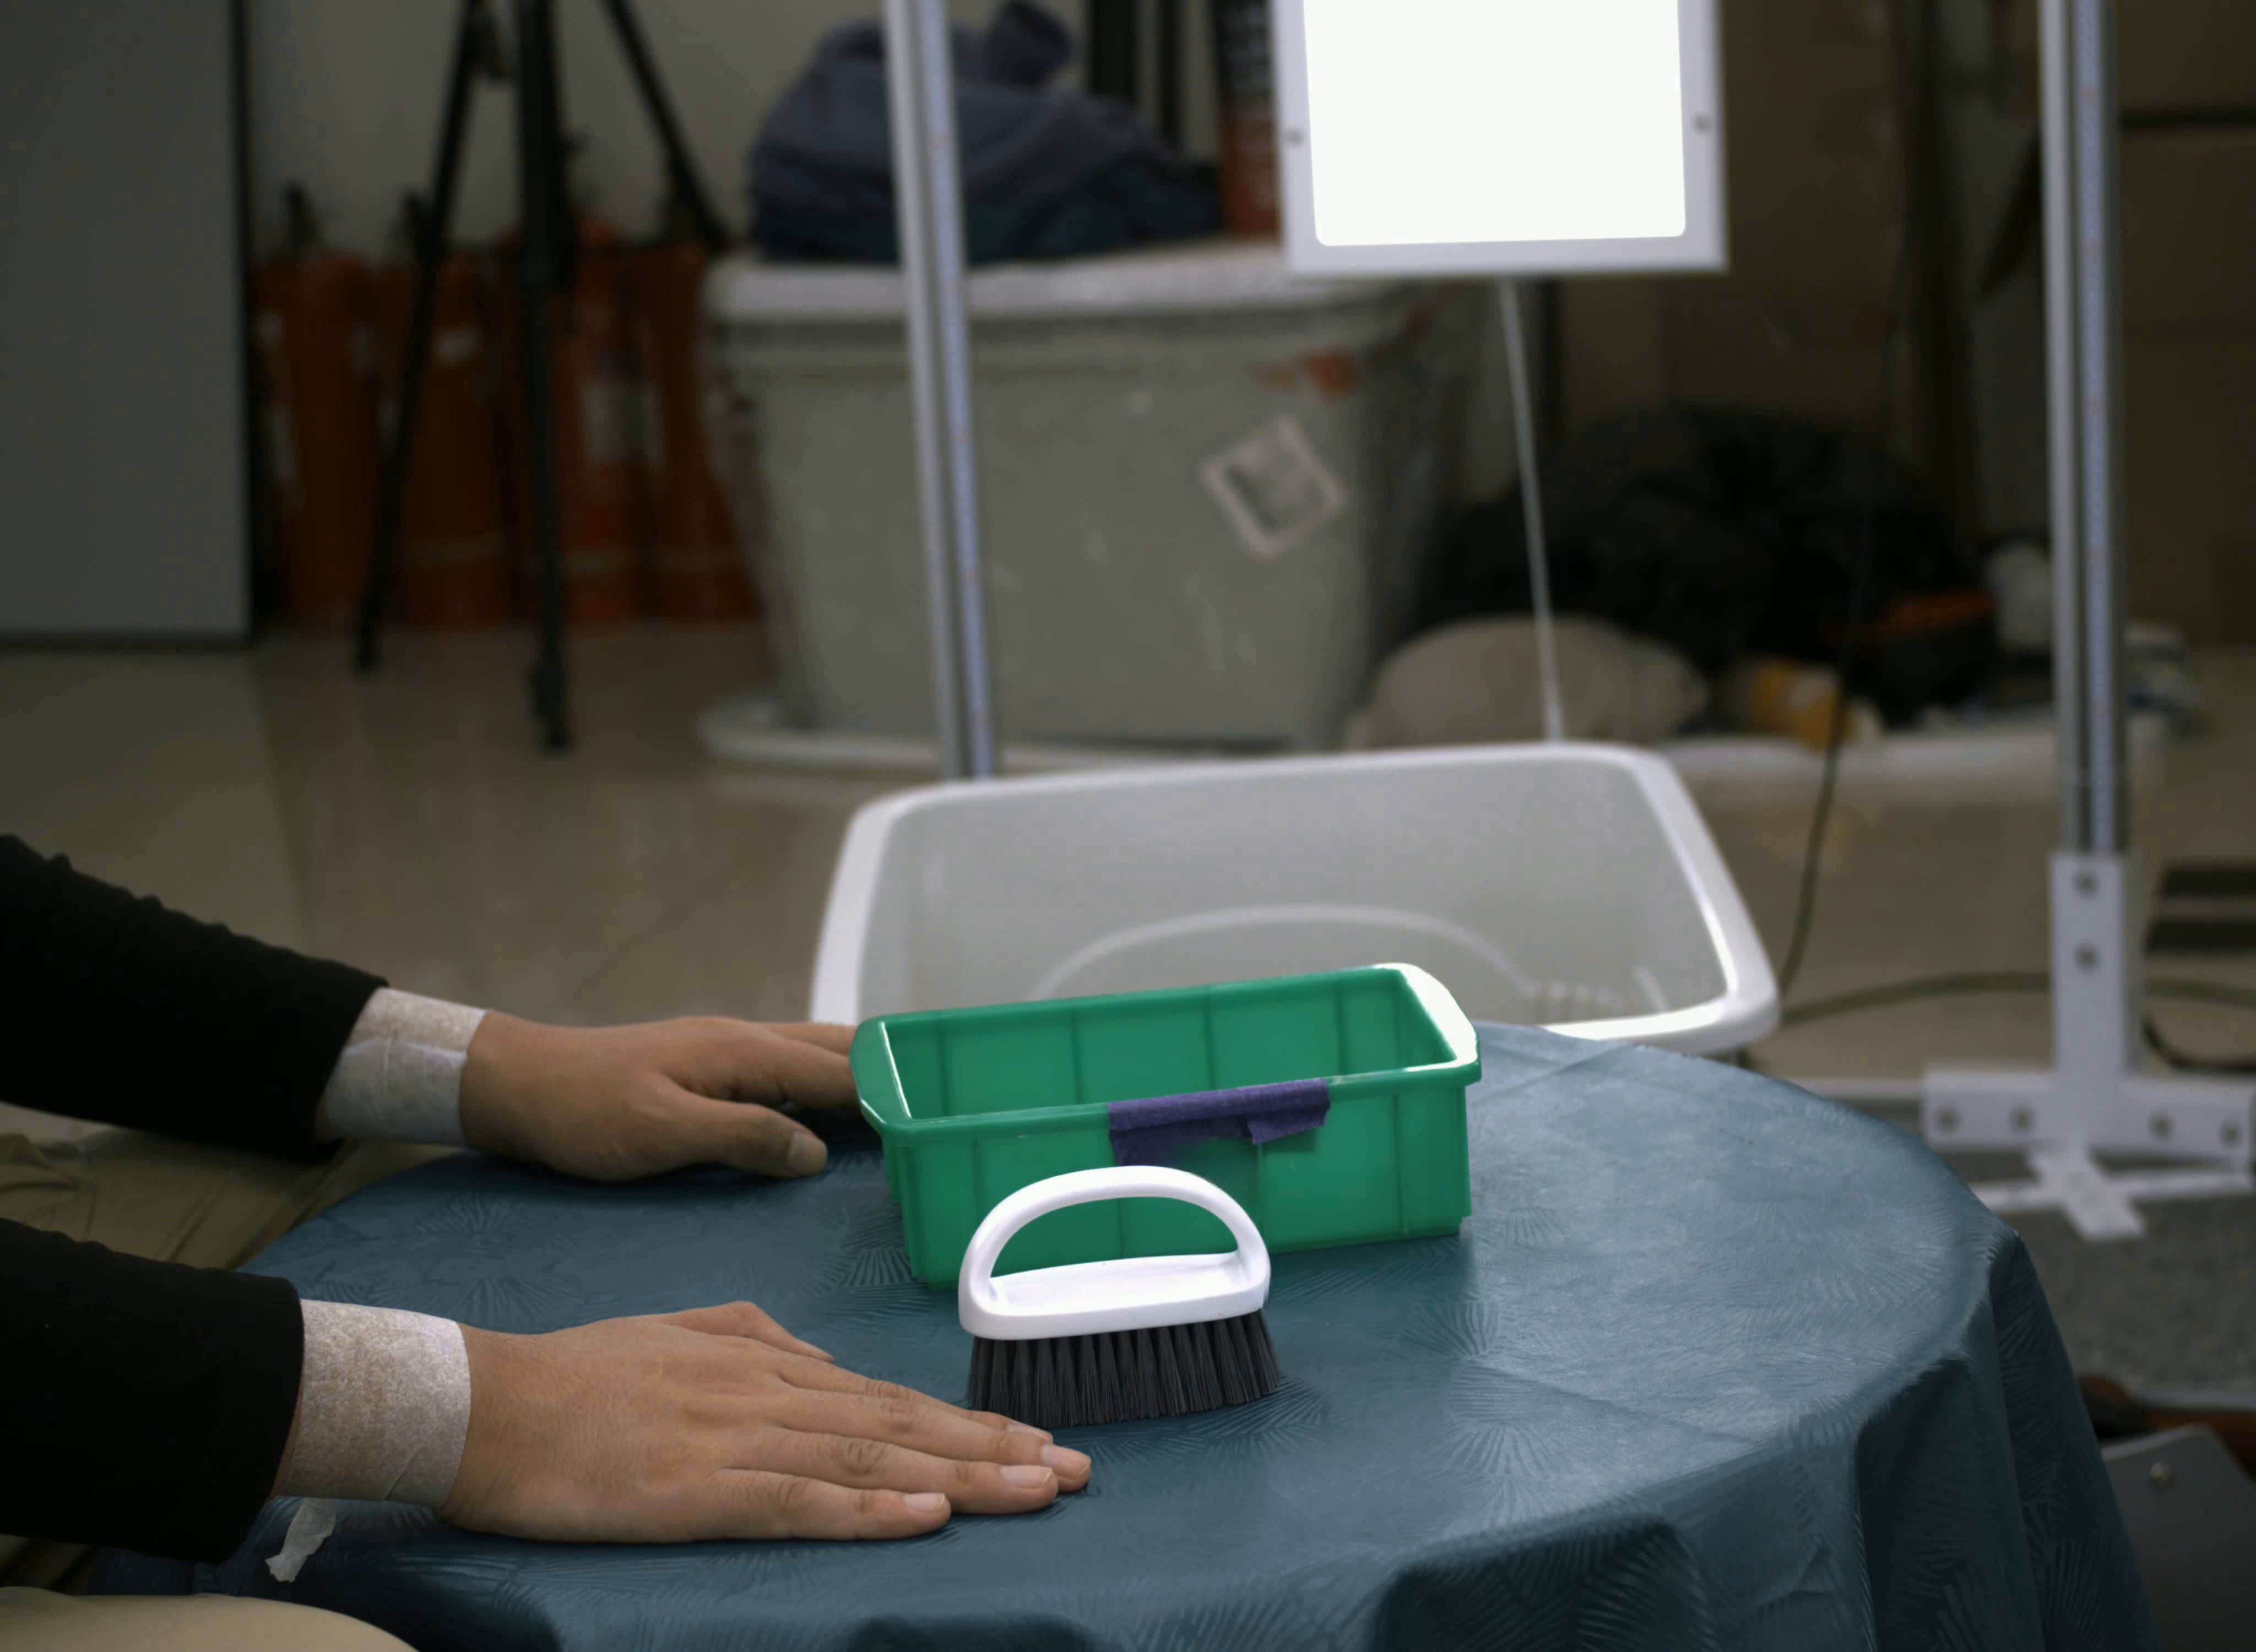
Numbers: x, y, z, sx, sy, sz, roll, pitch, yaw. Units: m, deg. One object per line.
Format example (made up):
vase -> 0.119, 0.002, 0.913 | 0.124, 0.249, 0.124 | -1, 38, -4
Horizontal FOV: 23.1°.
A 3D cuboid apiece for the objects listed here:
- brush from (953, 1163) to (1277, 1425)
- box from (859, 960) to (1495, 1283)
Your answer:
brush -> -0.005, 0.140, 1.690 | 0.099, 0.073, 0.050 | -5, 14, -1
box -> 0.017, 0.100, 1.868 | 0.209, 0.065, 0.139 | -5, 16, -5
